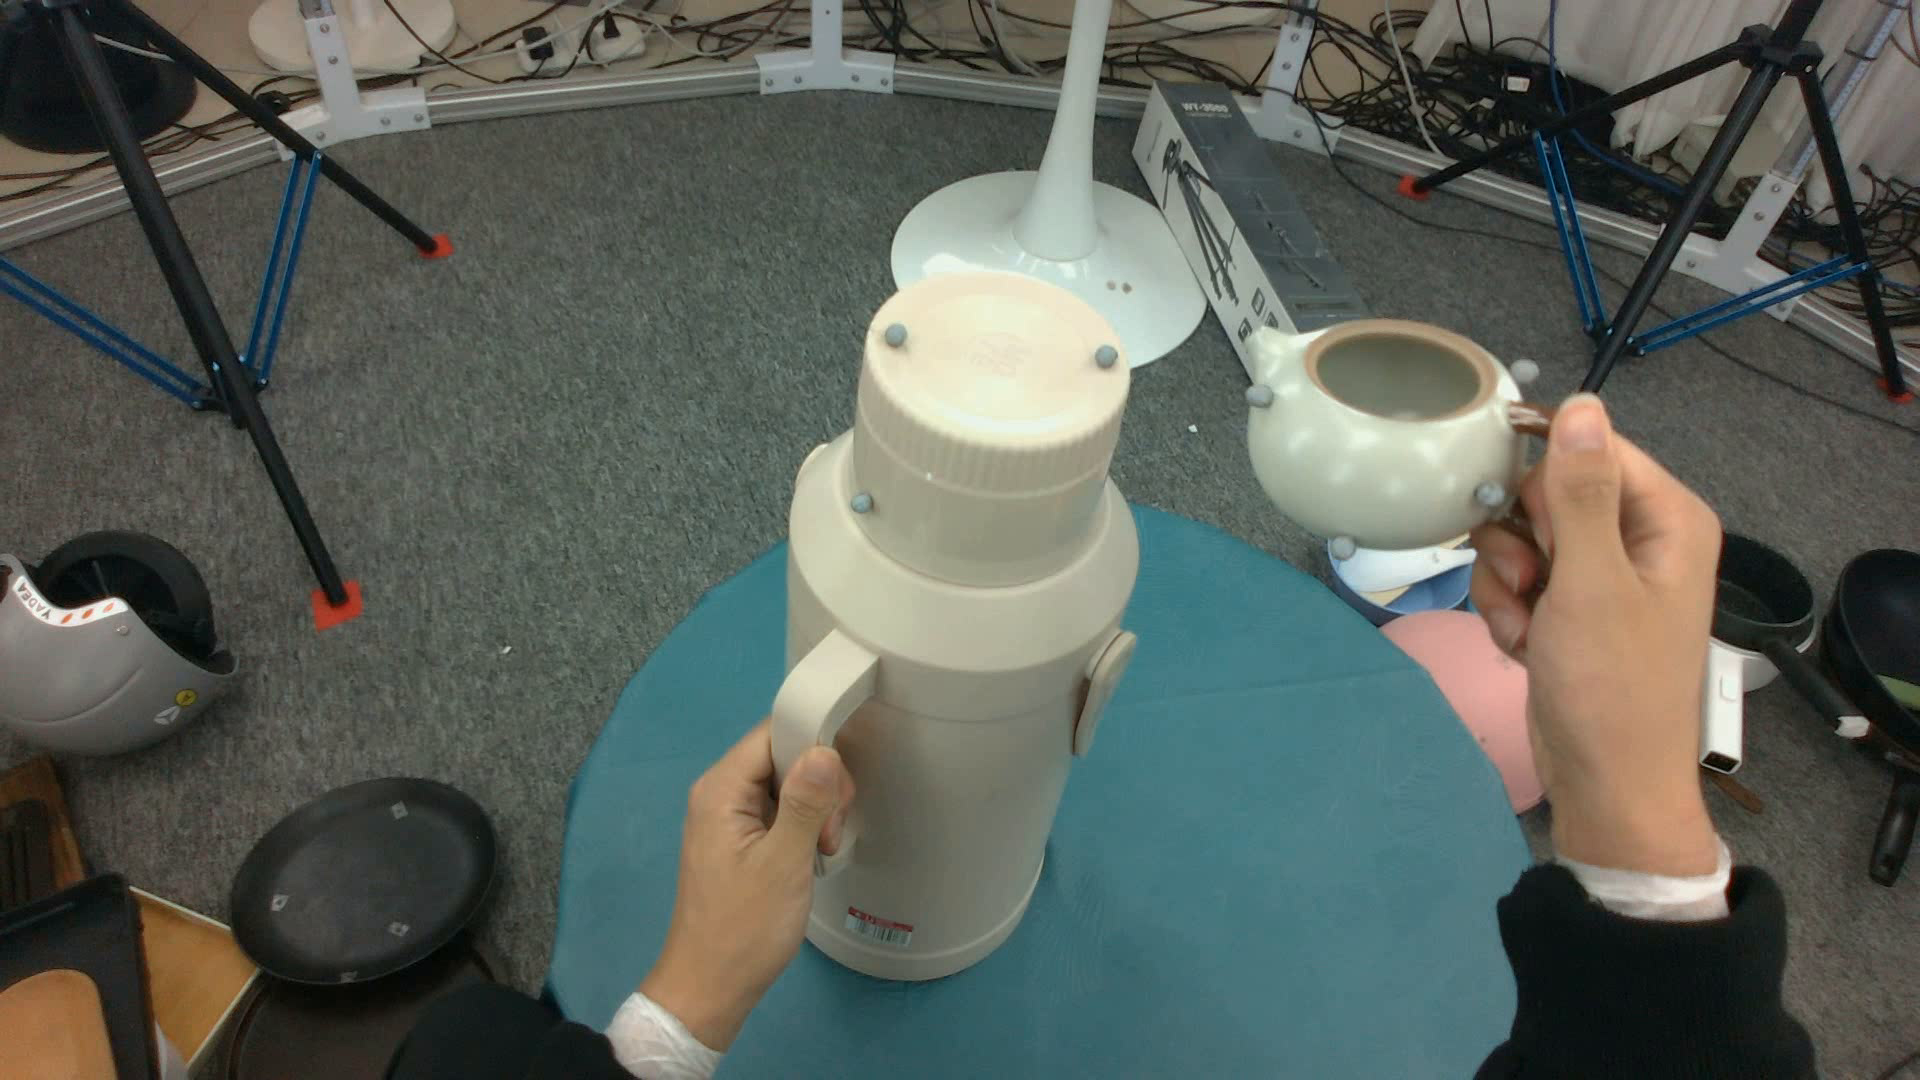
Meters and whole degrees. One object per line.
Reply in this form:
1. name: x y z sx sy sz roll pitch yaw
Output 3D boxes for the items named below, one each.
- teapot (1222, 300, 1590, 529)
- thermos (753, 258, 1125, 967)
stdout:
1. teapot: 0.149 -0.041 0.473 0.128 0.059 0.092 19 42 26
2. thermos: -0.026 0.061 0.672 0.175 0.404 0.208 32 51 16
